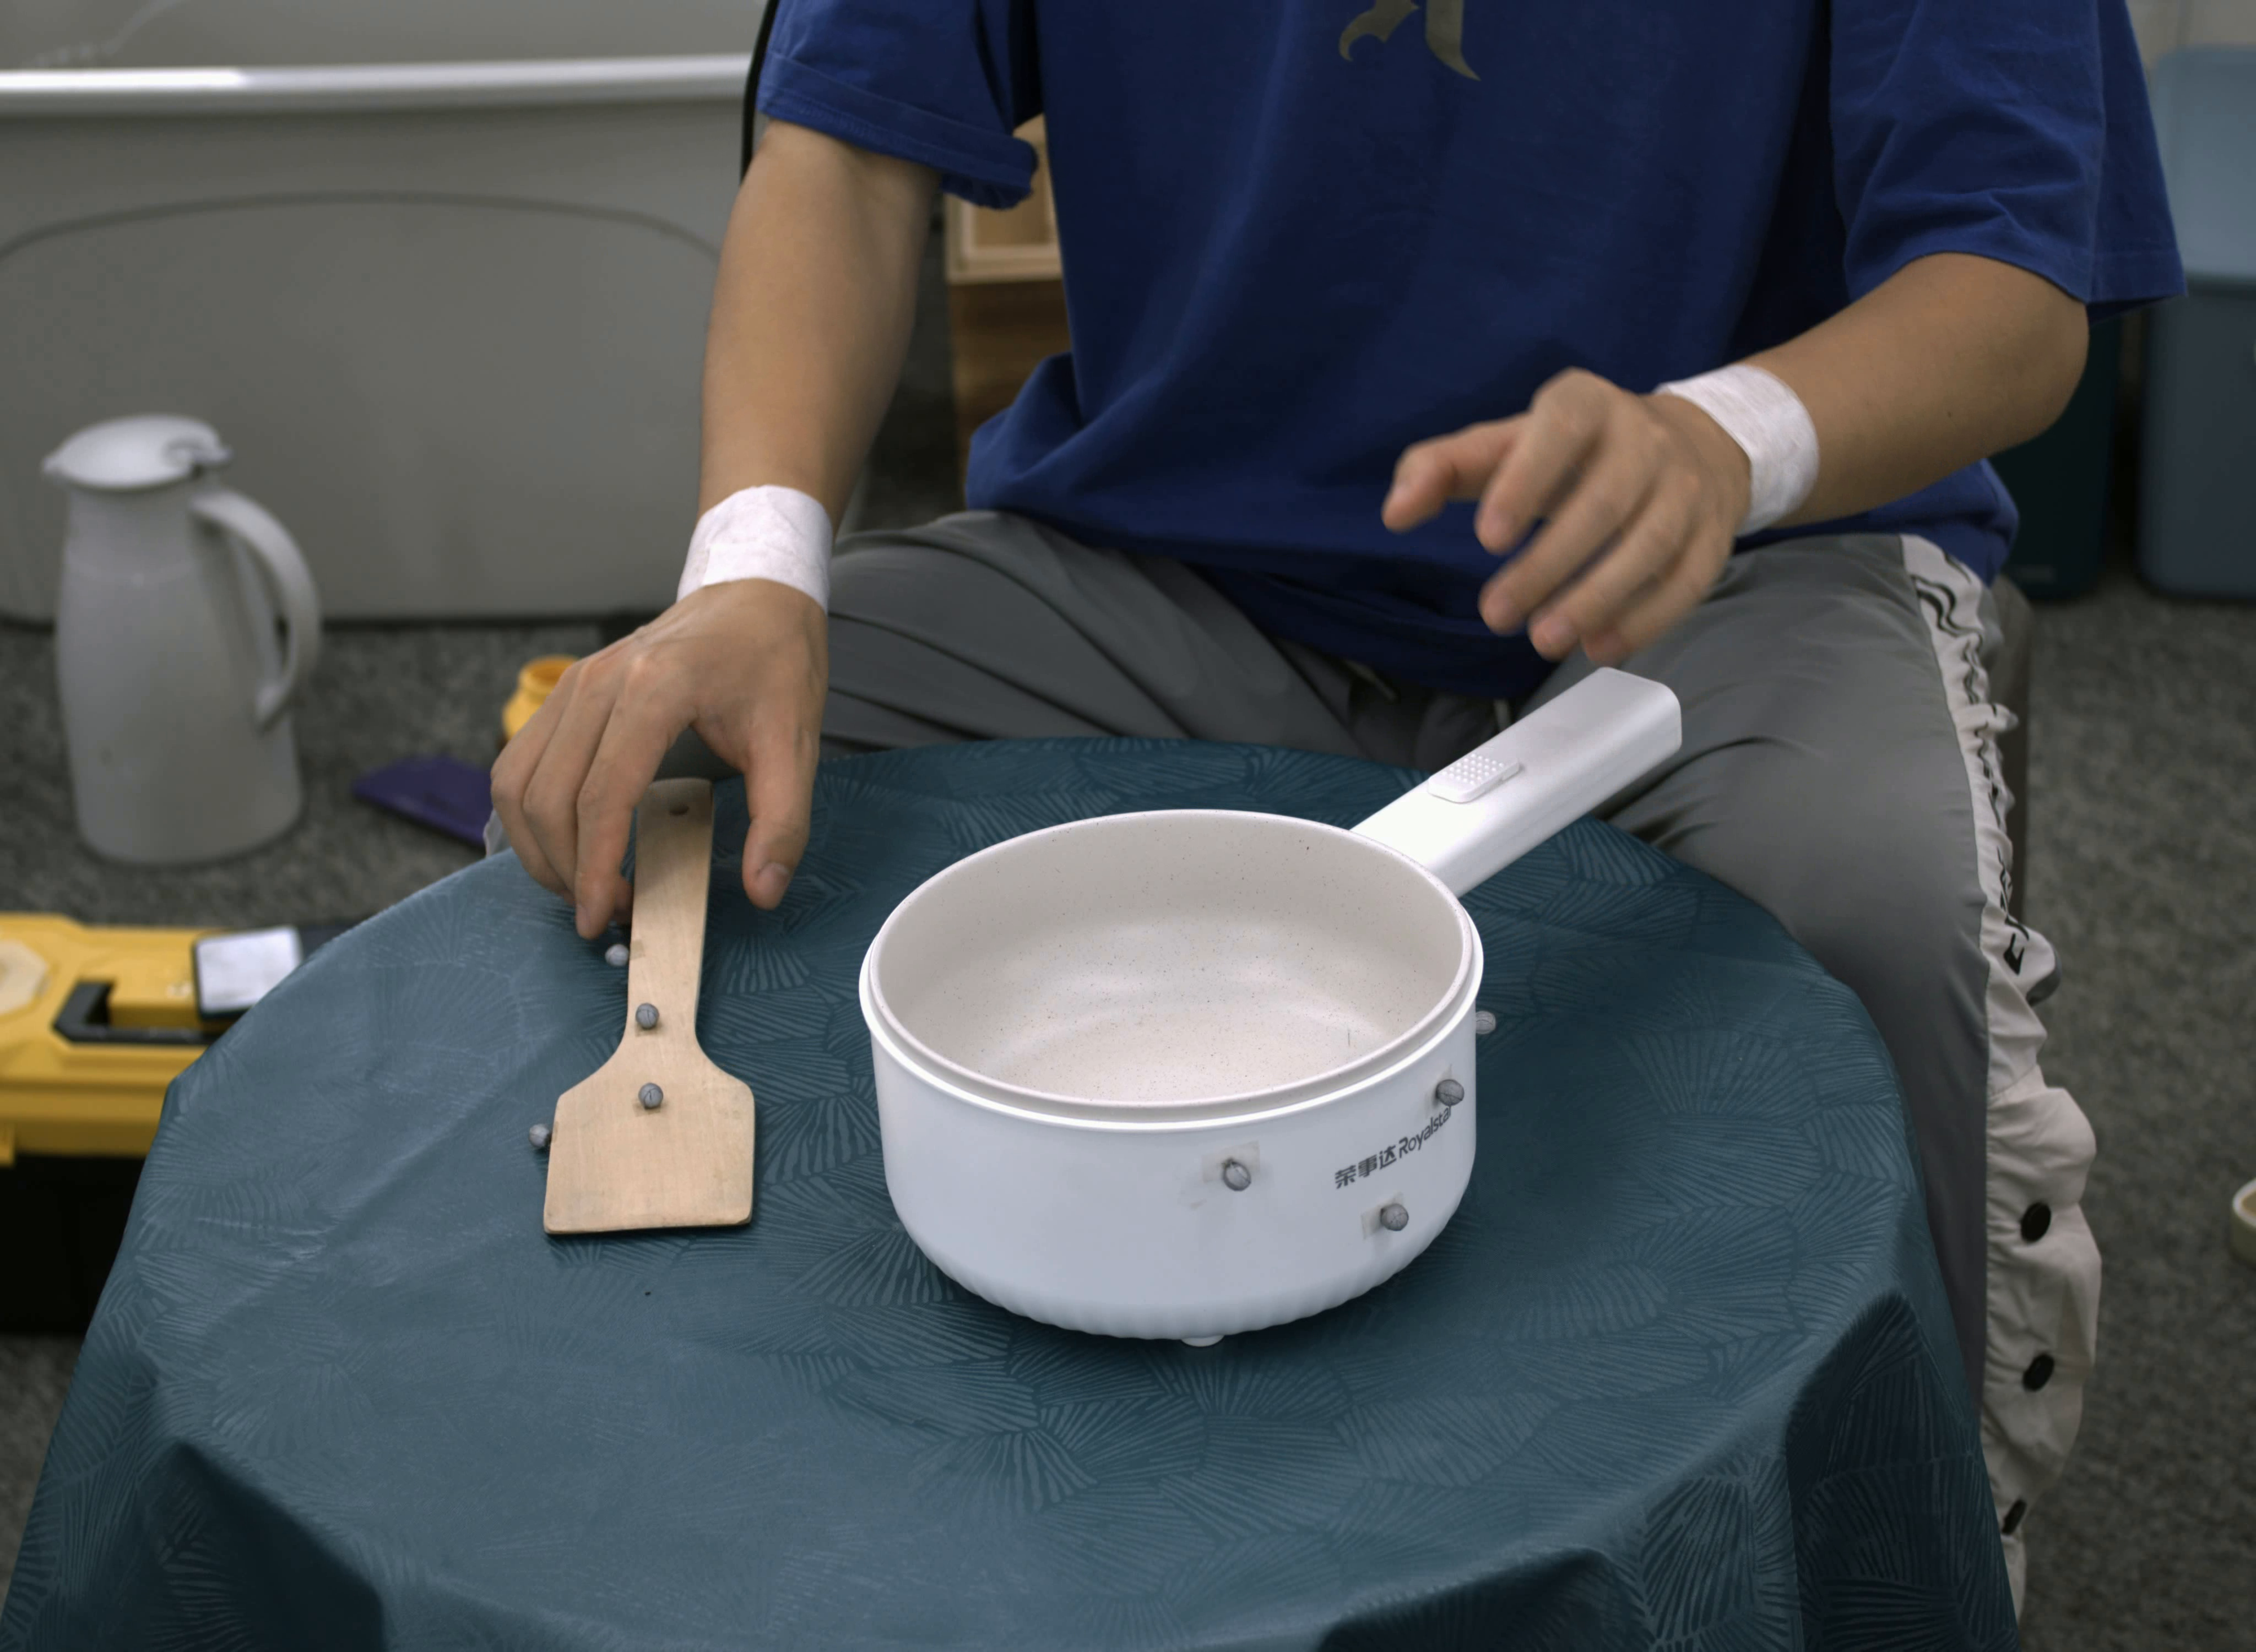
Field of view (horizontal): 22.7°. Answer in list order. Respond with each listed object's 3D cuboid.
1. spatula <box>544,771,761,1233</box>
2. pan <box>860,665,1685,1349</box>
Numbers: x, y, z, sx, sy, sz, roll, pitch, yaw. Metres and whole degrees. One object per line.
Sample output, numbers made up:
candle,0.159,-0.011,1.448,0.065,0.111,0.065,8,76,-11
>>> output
spatula,-0.163,0.058,1.977,0.072,0.010,0.298,-3,31,0
pan,0.066,0.056,1.877,0.200,0.101,0.359,17,33,37
